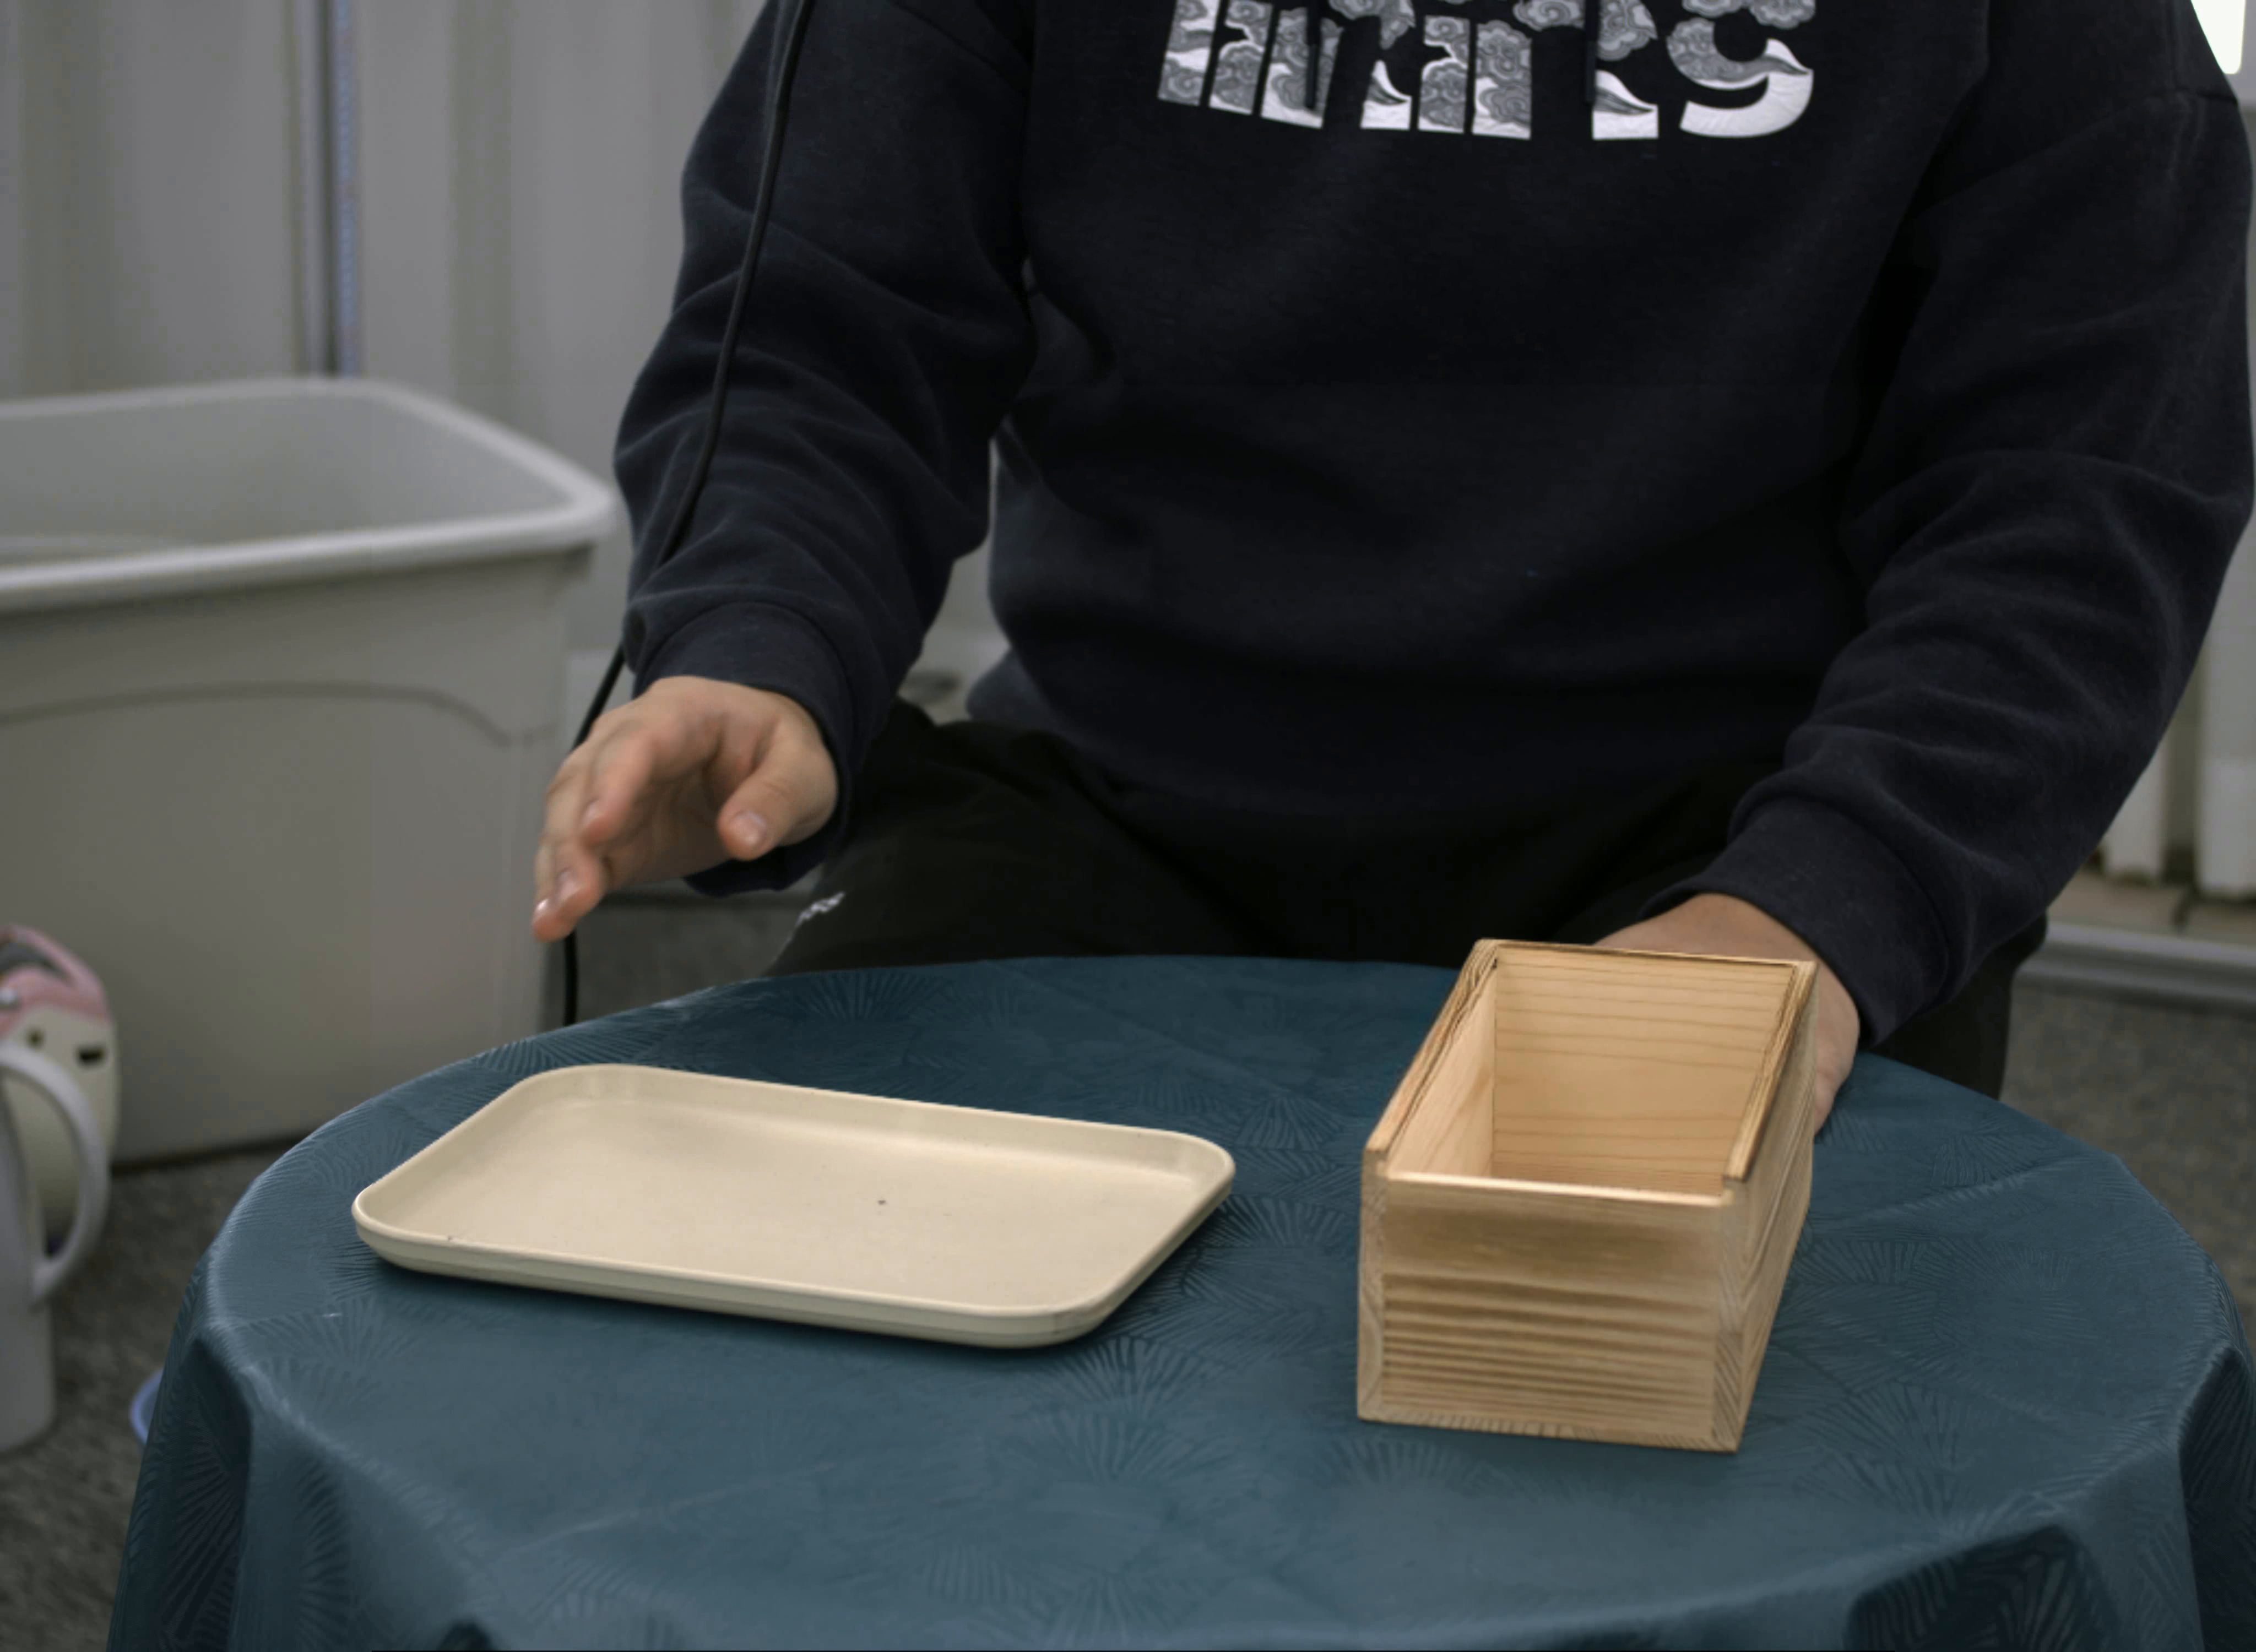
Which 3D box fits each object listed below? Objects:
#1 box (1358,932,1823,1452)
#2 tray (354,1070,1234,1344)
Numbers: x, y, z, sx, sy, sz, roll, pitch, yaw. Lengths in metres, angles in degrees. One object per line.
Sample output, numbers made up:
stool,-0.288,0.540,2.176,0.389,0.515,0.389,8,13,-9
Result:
box,0.137,0.101,1.523,0.107,0.081,0.211,4,16,11
tray,-0.098,0.114,1.583,0.237,0.017,0.171,6,15,17
